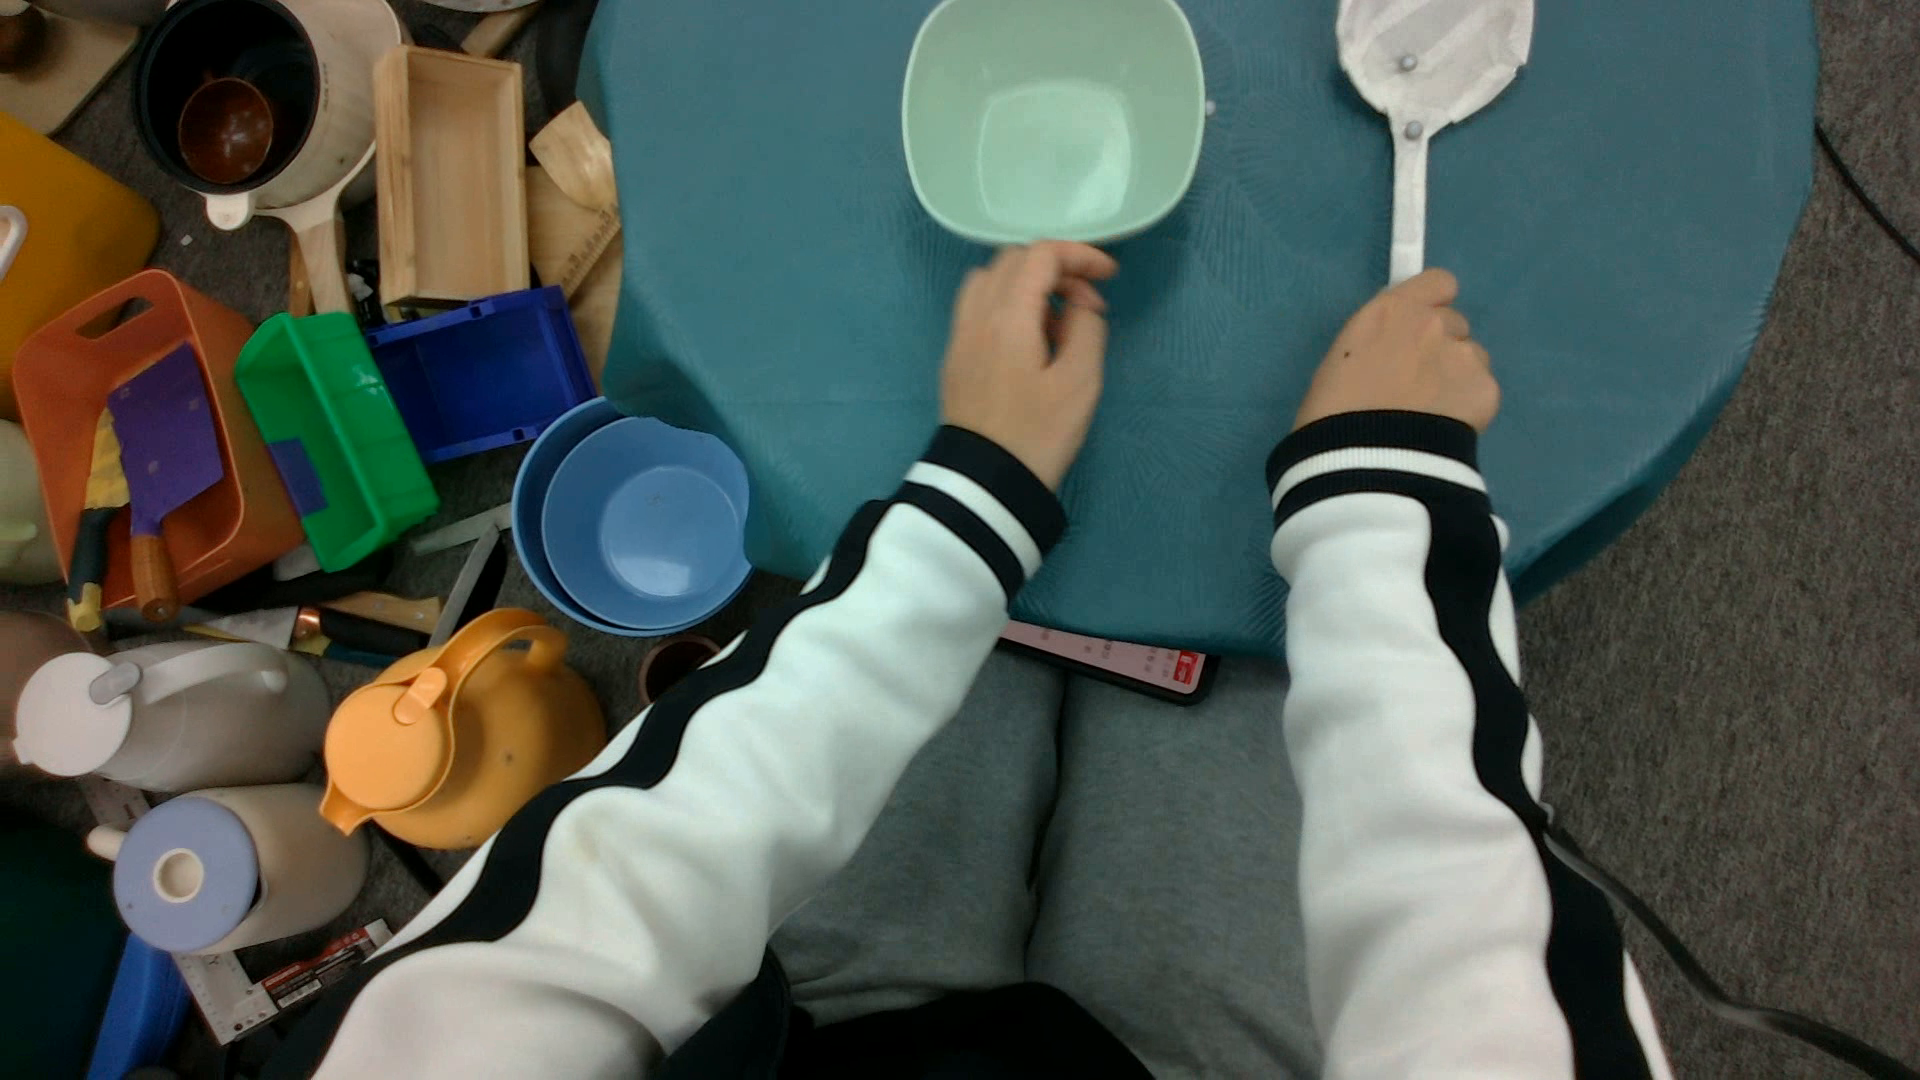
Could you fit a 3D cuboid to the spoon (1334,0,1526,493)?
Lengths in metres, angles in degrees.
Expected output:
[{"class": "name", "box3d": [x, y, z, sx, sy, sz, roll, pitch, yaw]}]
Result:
[{"class": "spoon", "box3d": [0.206, -0.158, 0.621, 0.101, 0.059, 0.278, 13, 69, -8]}]

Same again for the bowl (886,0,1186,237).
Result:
[{"class": "bowl", "box3d": [0.037, -0.201, 0.662, 0.151, 0.058, 0.152, -1, 76, 6]}]
